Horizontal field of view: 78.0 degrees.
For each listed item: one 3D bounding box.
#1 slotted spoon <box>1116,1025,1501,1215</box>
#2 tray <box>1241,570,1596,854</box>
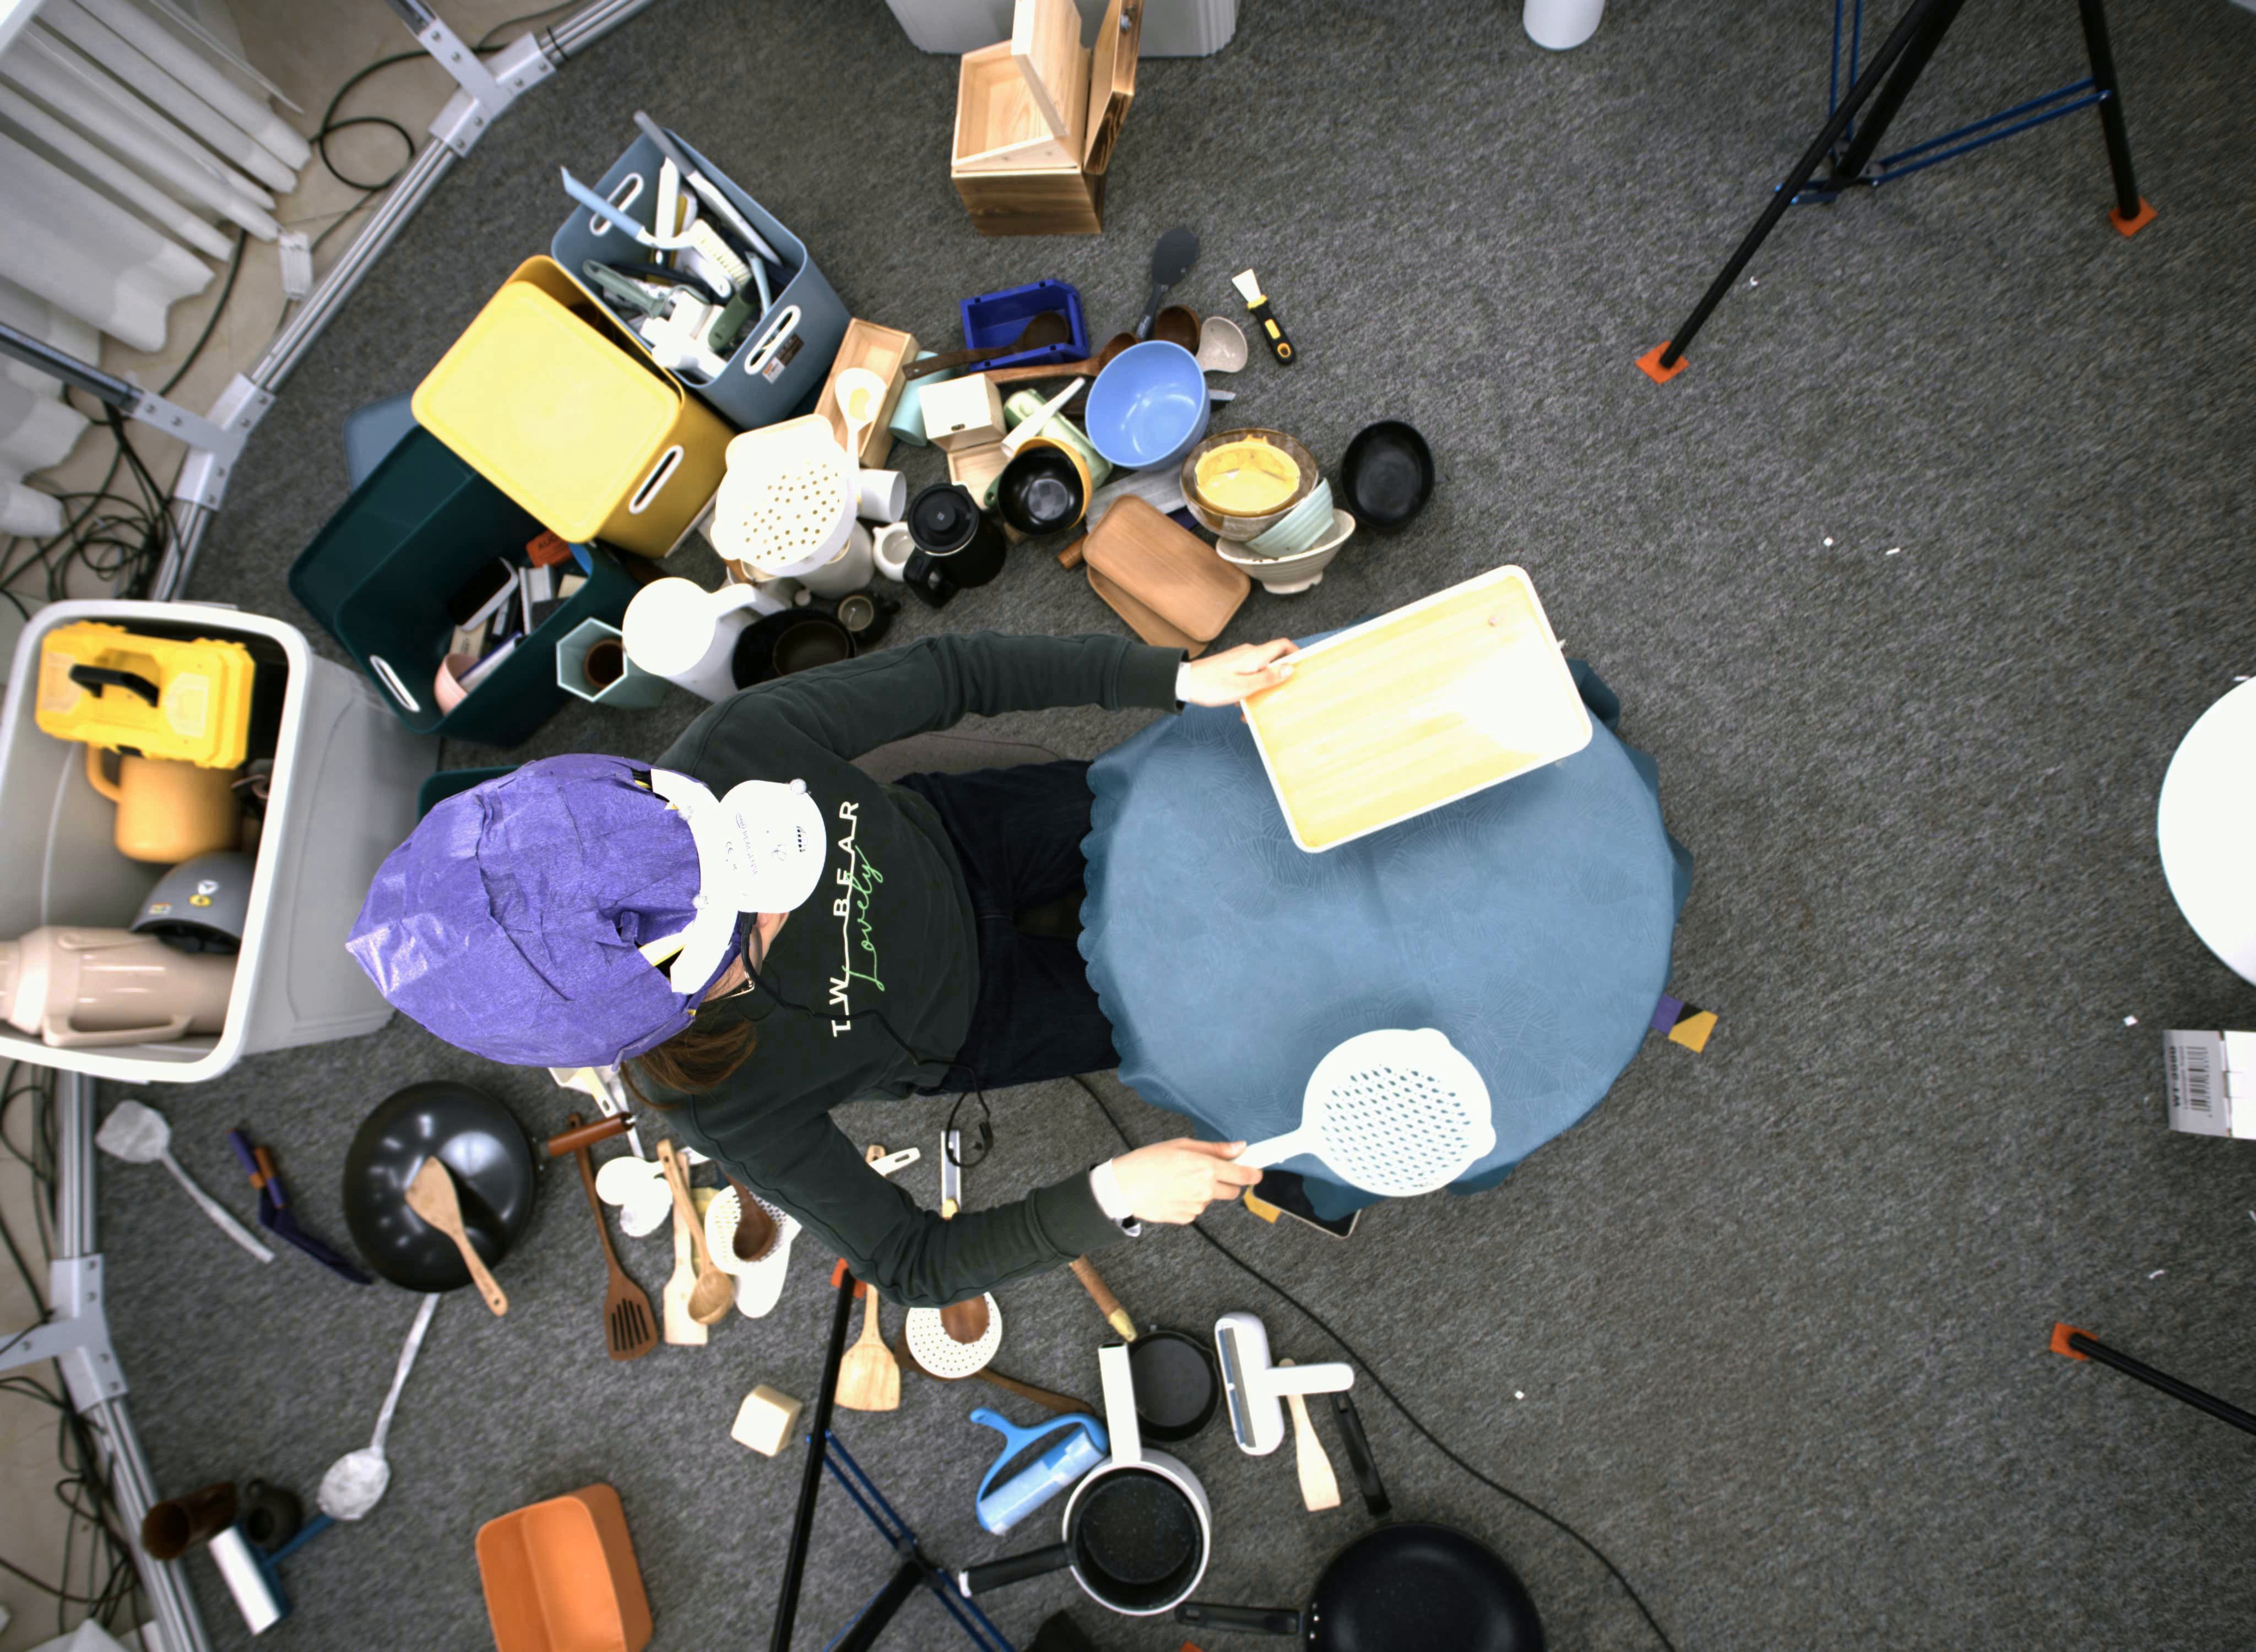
[{"bbox_3d":[0.163,0.294,1.288,0.358,0.077,0.165,-12,48,-9],"label":"slotted spoon"},{"bbox_3d":[0.278,-0.110,1.333,0.302,0.027,0.190,-22,84,12],"label":"tray"}]
